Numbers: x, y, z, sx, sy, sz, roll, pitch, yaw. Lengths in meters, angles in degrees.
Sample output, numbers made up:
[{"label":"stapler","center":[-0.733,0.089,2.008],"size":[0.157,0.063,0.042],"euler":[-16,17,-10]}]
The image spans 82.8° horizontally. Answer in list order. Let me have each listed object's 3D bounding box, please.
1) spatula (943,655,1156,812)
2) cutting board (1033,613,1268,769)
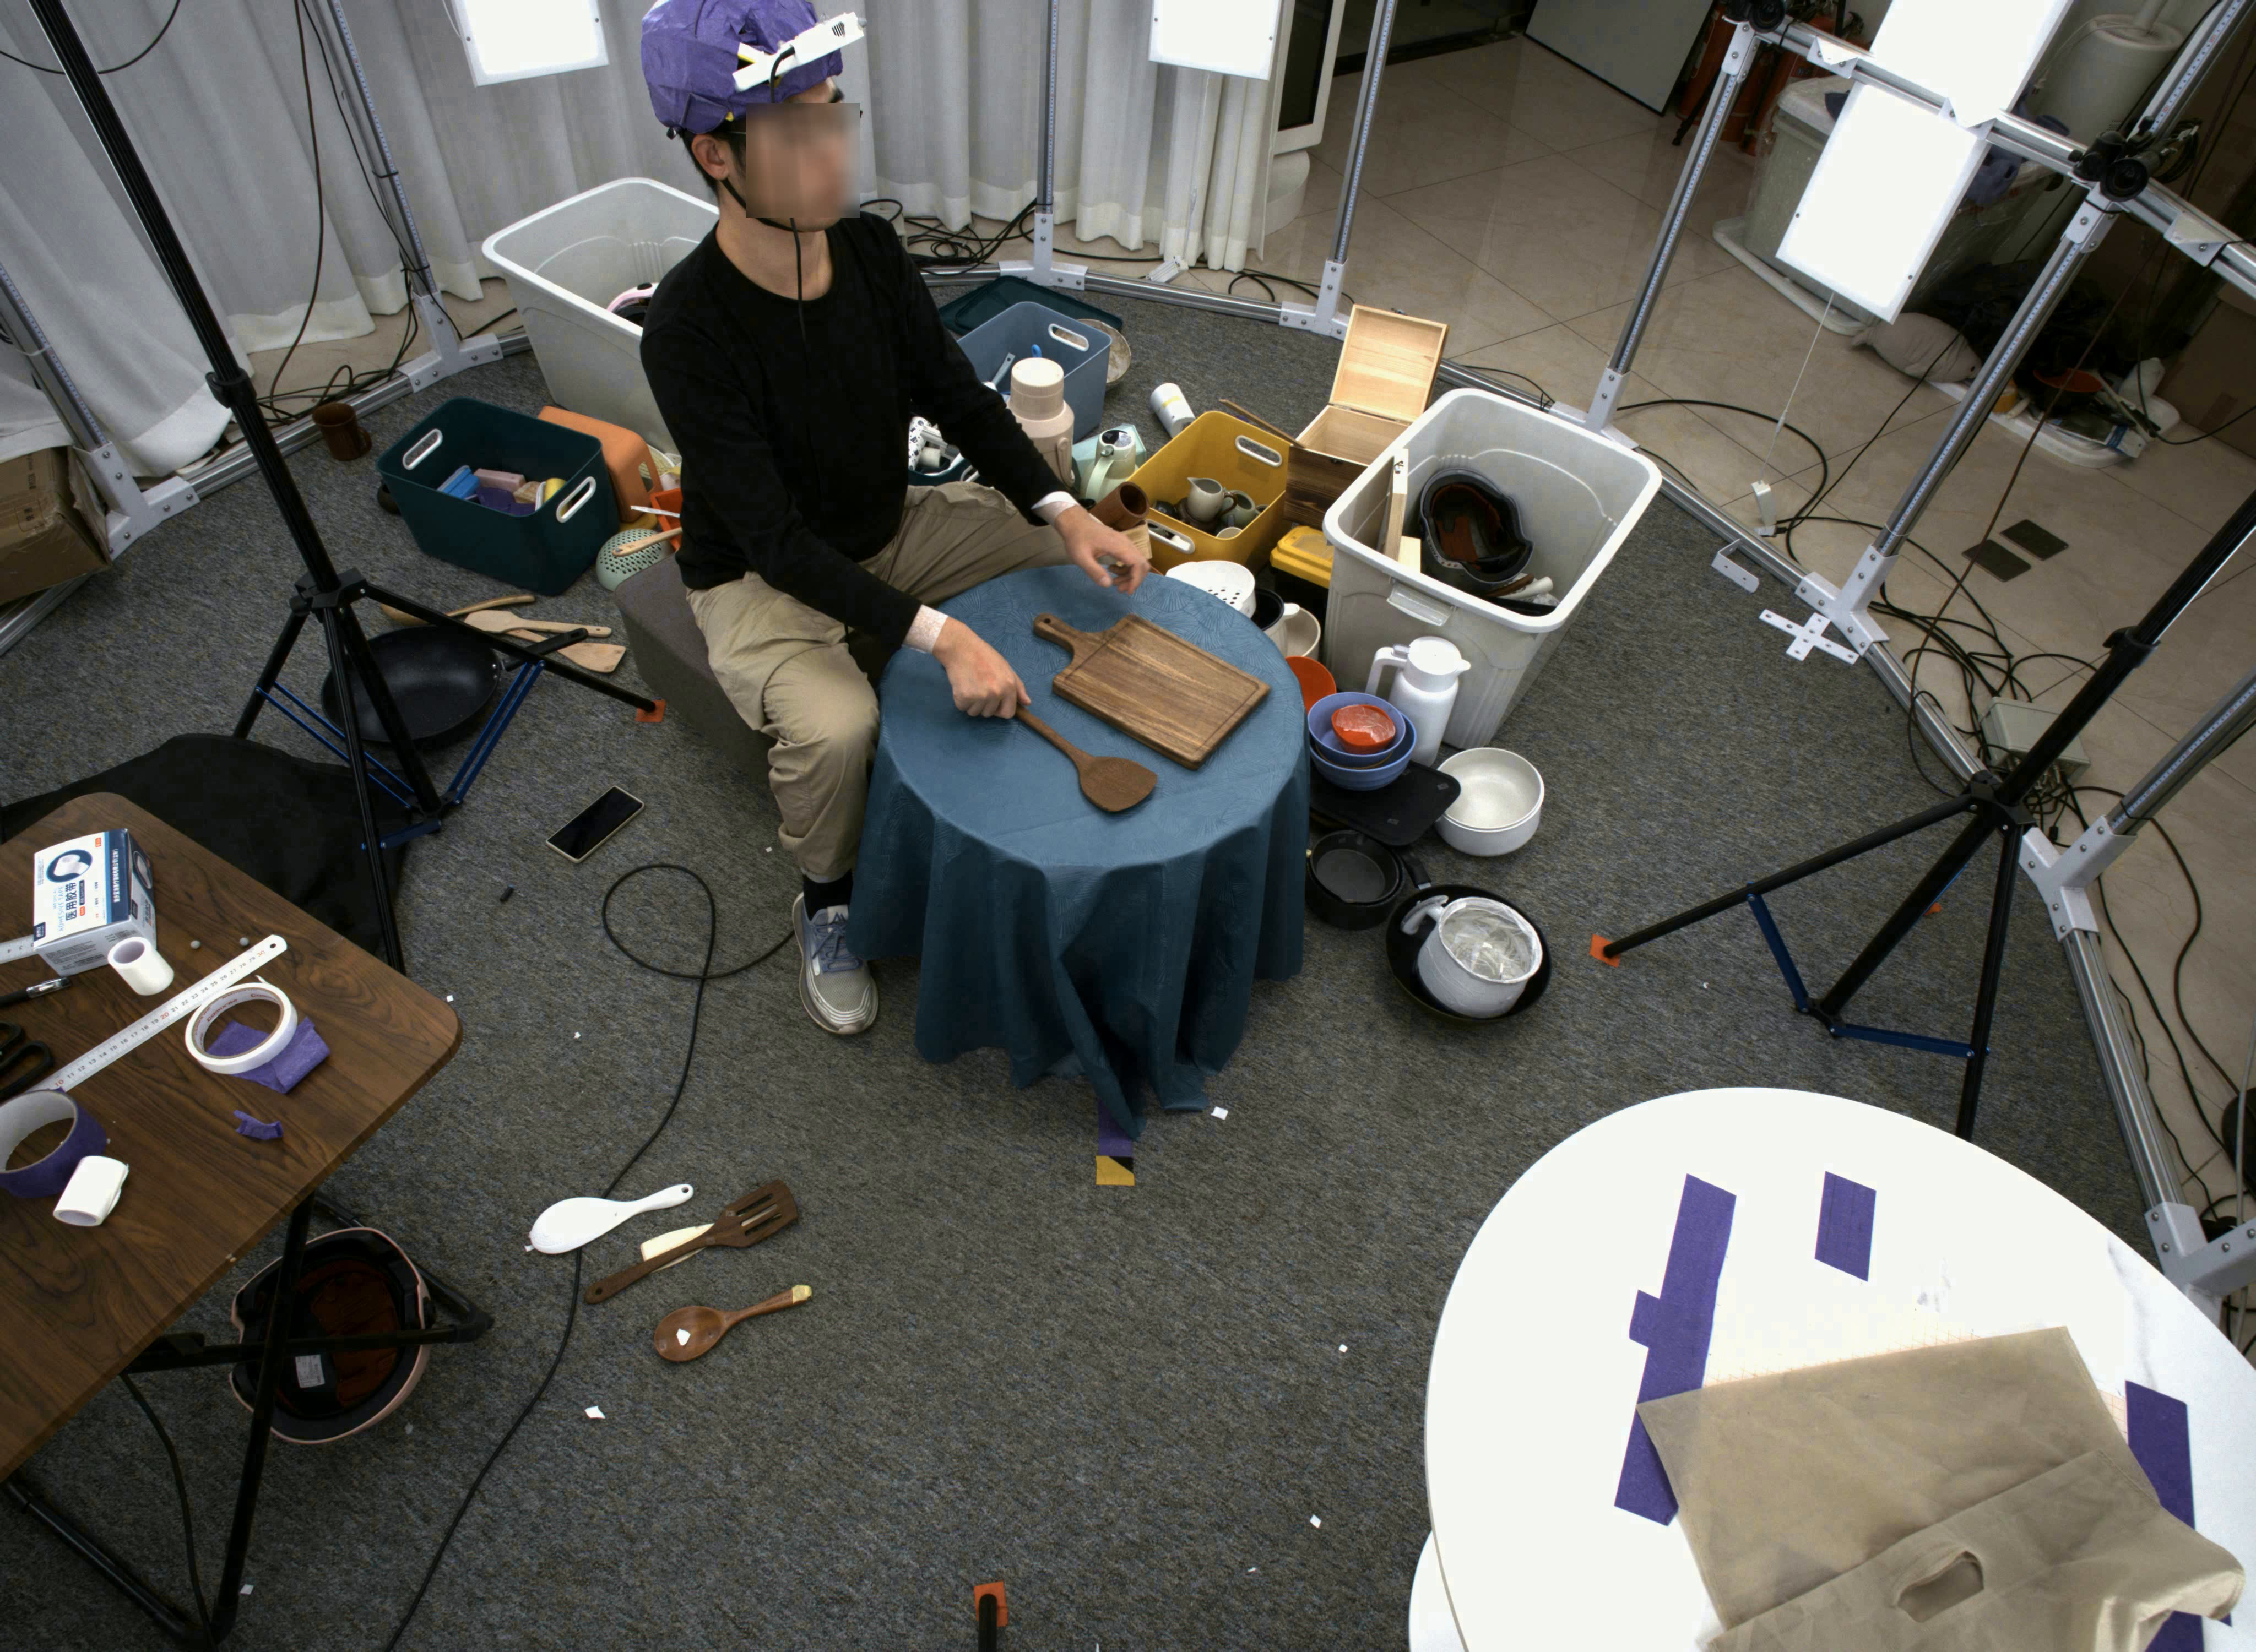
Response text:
[{"label":"spatula","center":[-0.123,-0.139,1.772],"size":[0.391,0.015,0.097],"euler":[37,55,25]},{"label":"cutting board","center":[0.007,-0.222,1.850],"size":[0.356,0.022,0.204],"euler":[30,54,21]}]
